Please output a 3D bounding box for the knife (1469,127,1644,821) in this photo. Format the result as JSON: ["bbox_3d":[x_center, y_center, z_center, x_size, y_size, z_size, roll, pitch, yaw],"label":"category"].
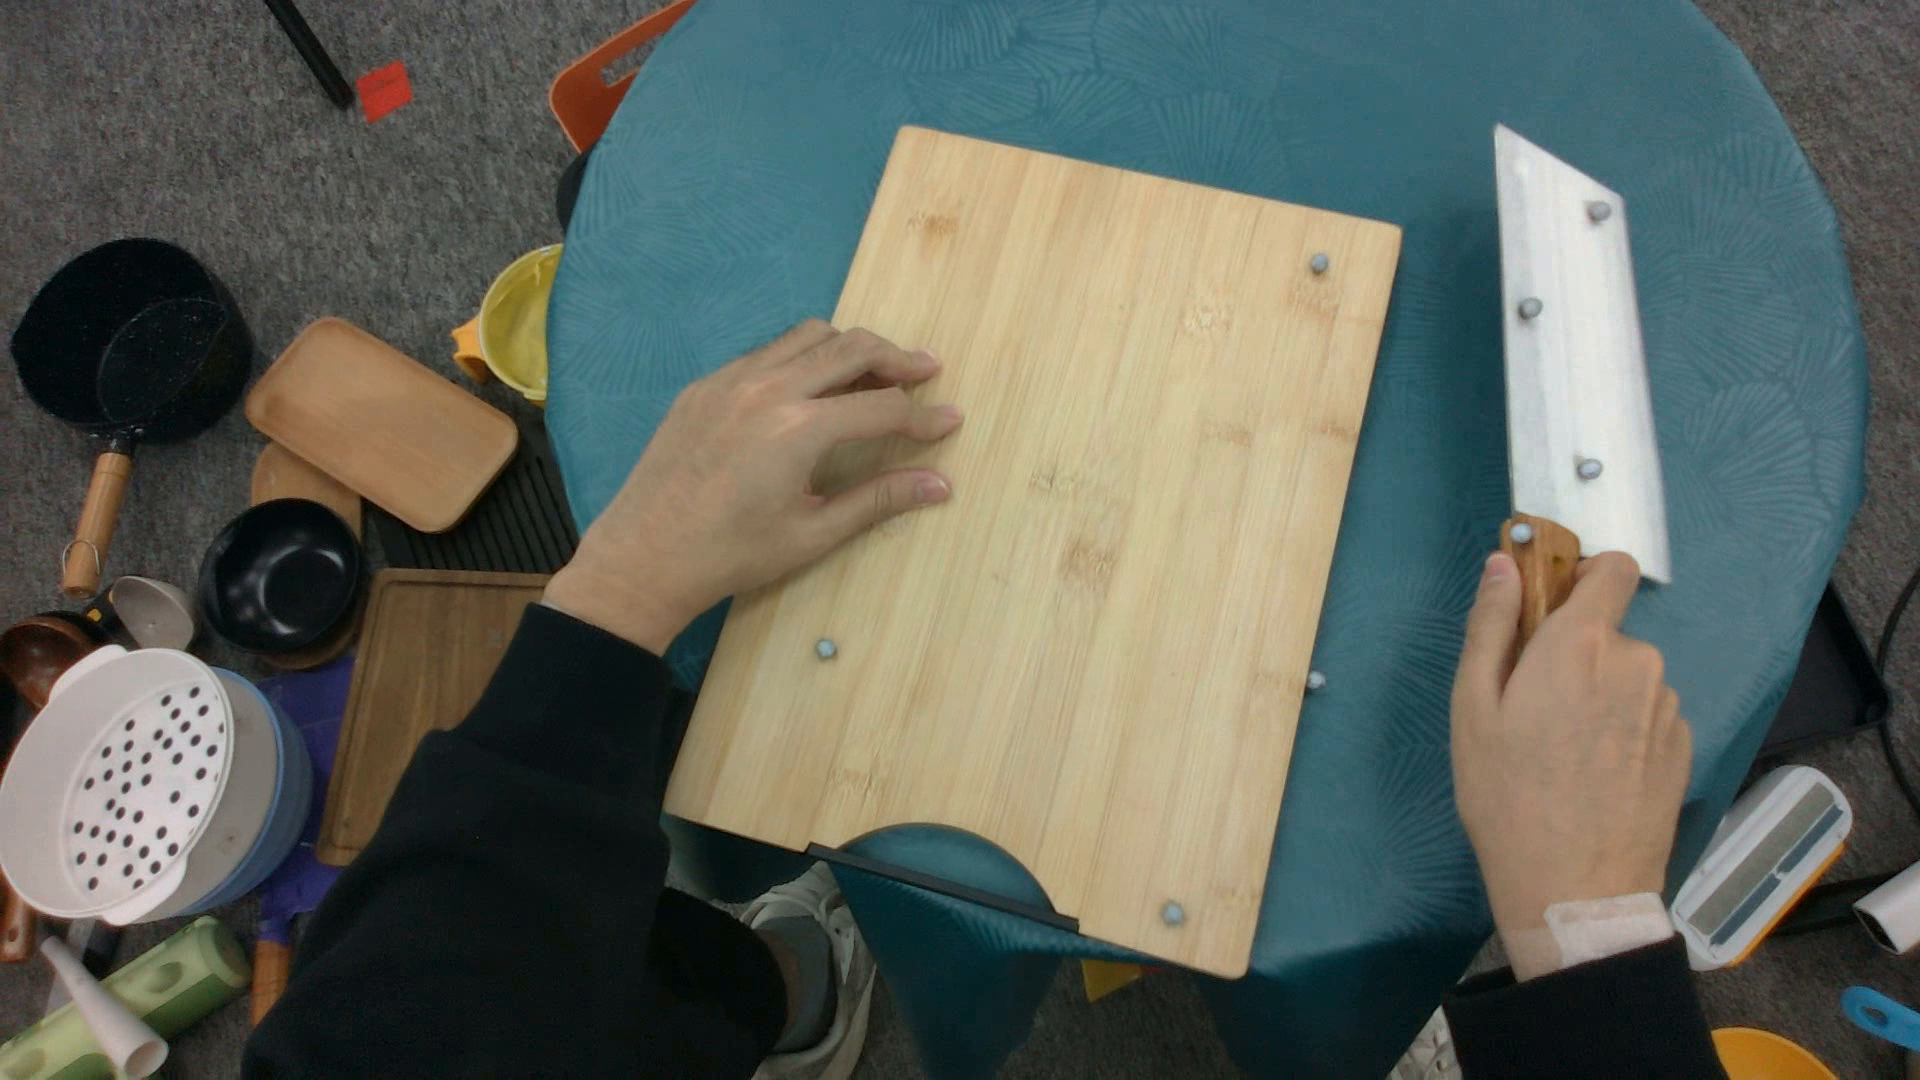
[{"bbox_3d":[0.251,-0.033,0.574,0.093,0.021,0.306,15,68,-26],"label":"knife"}]

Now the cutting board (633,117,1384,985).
[{"bbox_3d":[0.032,-0.014,0.598,0.250,0.023,0.349,13,72,7],"label":"cutting board"}]
